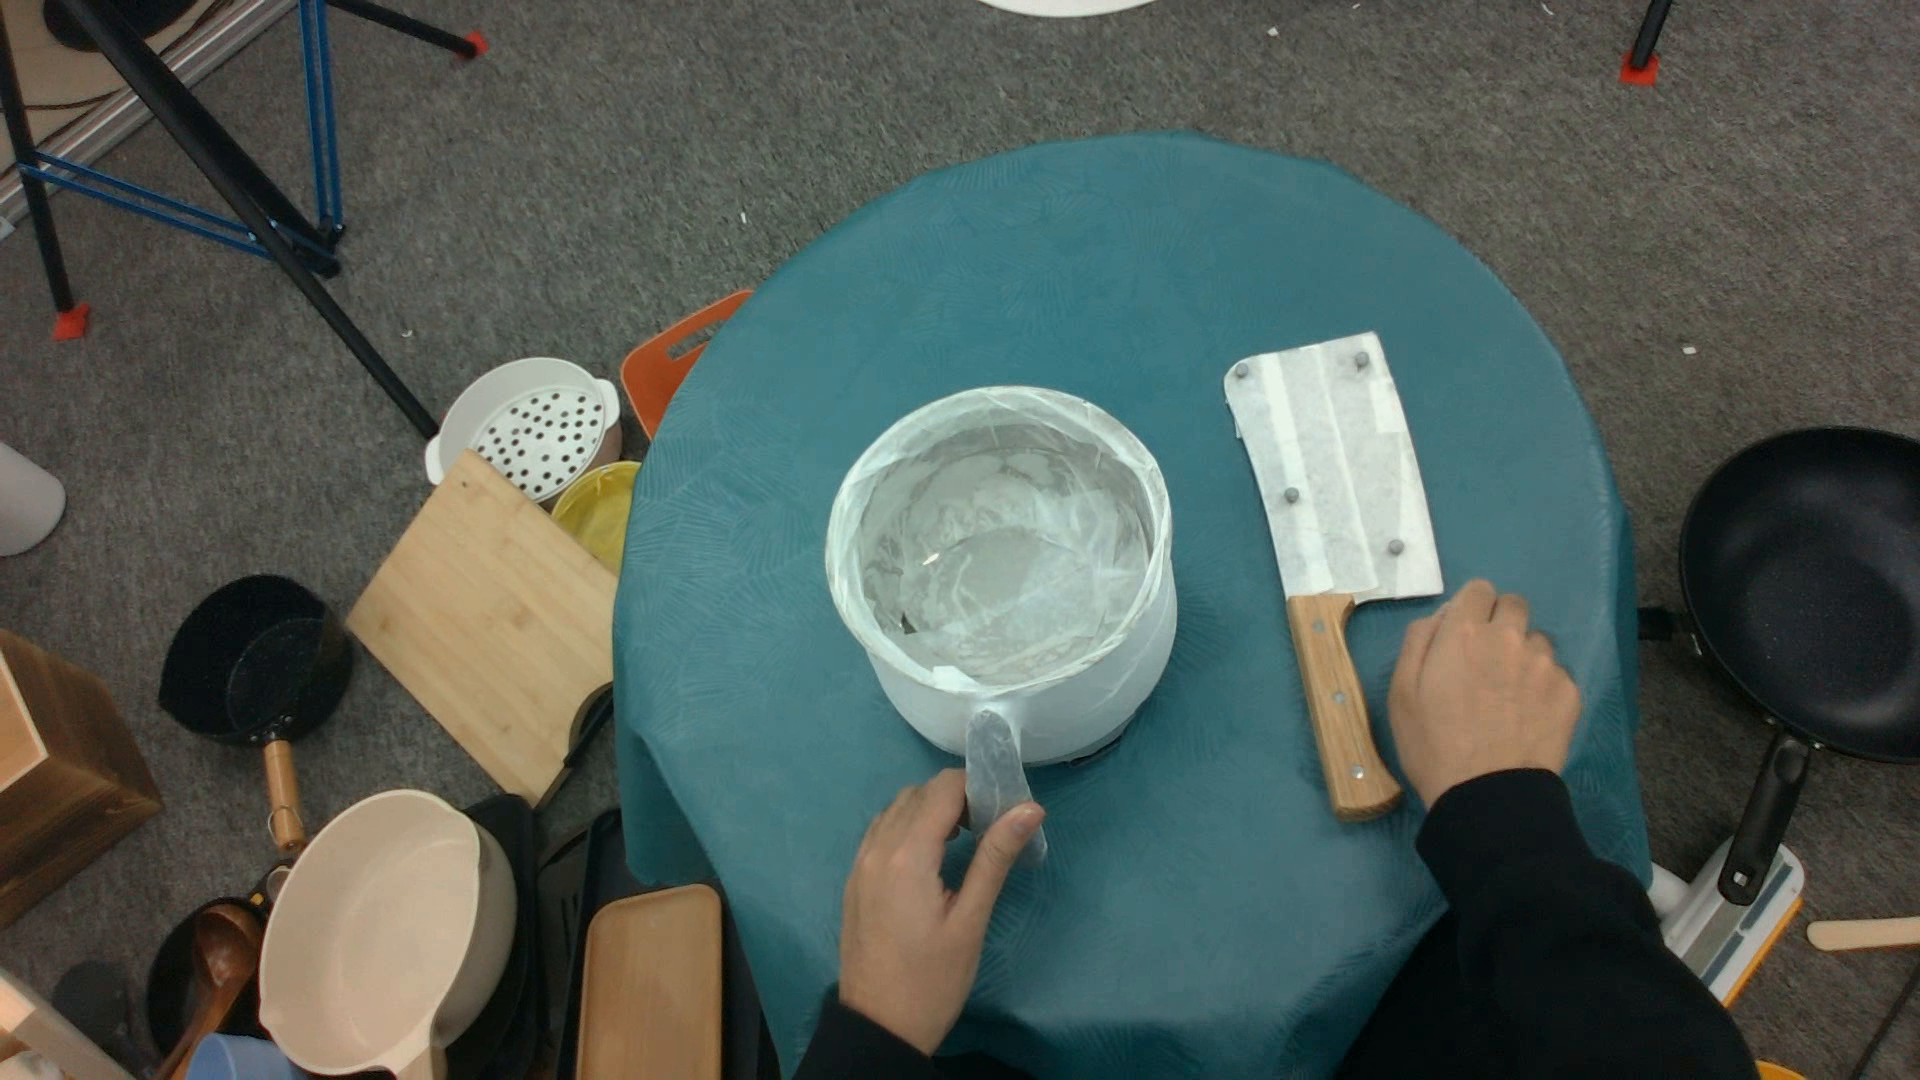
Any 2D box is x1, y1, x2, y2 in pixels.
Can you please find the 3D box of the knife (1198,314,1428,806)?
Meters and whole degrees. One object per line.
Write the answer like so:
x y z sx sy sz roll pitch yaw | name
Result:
0.206 -0.001 0.790 0.114 0.021 0.316 -5 60 7 | knife

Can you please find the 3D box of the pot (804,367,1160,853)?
0.018 0.040 0.732 0.178 0.136 0.234 -4 61 9 | pot
